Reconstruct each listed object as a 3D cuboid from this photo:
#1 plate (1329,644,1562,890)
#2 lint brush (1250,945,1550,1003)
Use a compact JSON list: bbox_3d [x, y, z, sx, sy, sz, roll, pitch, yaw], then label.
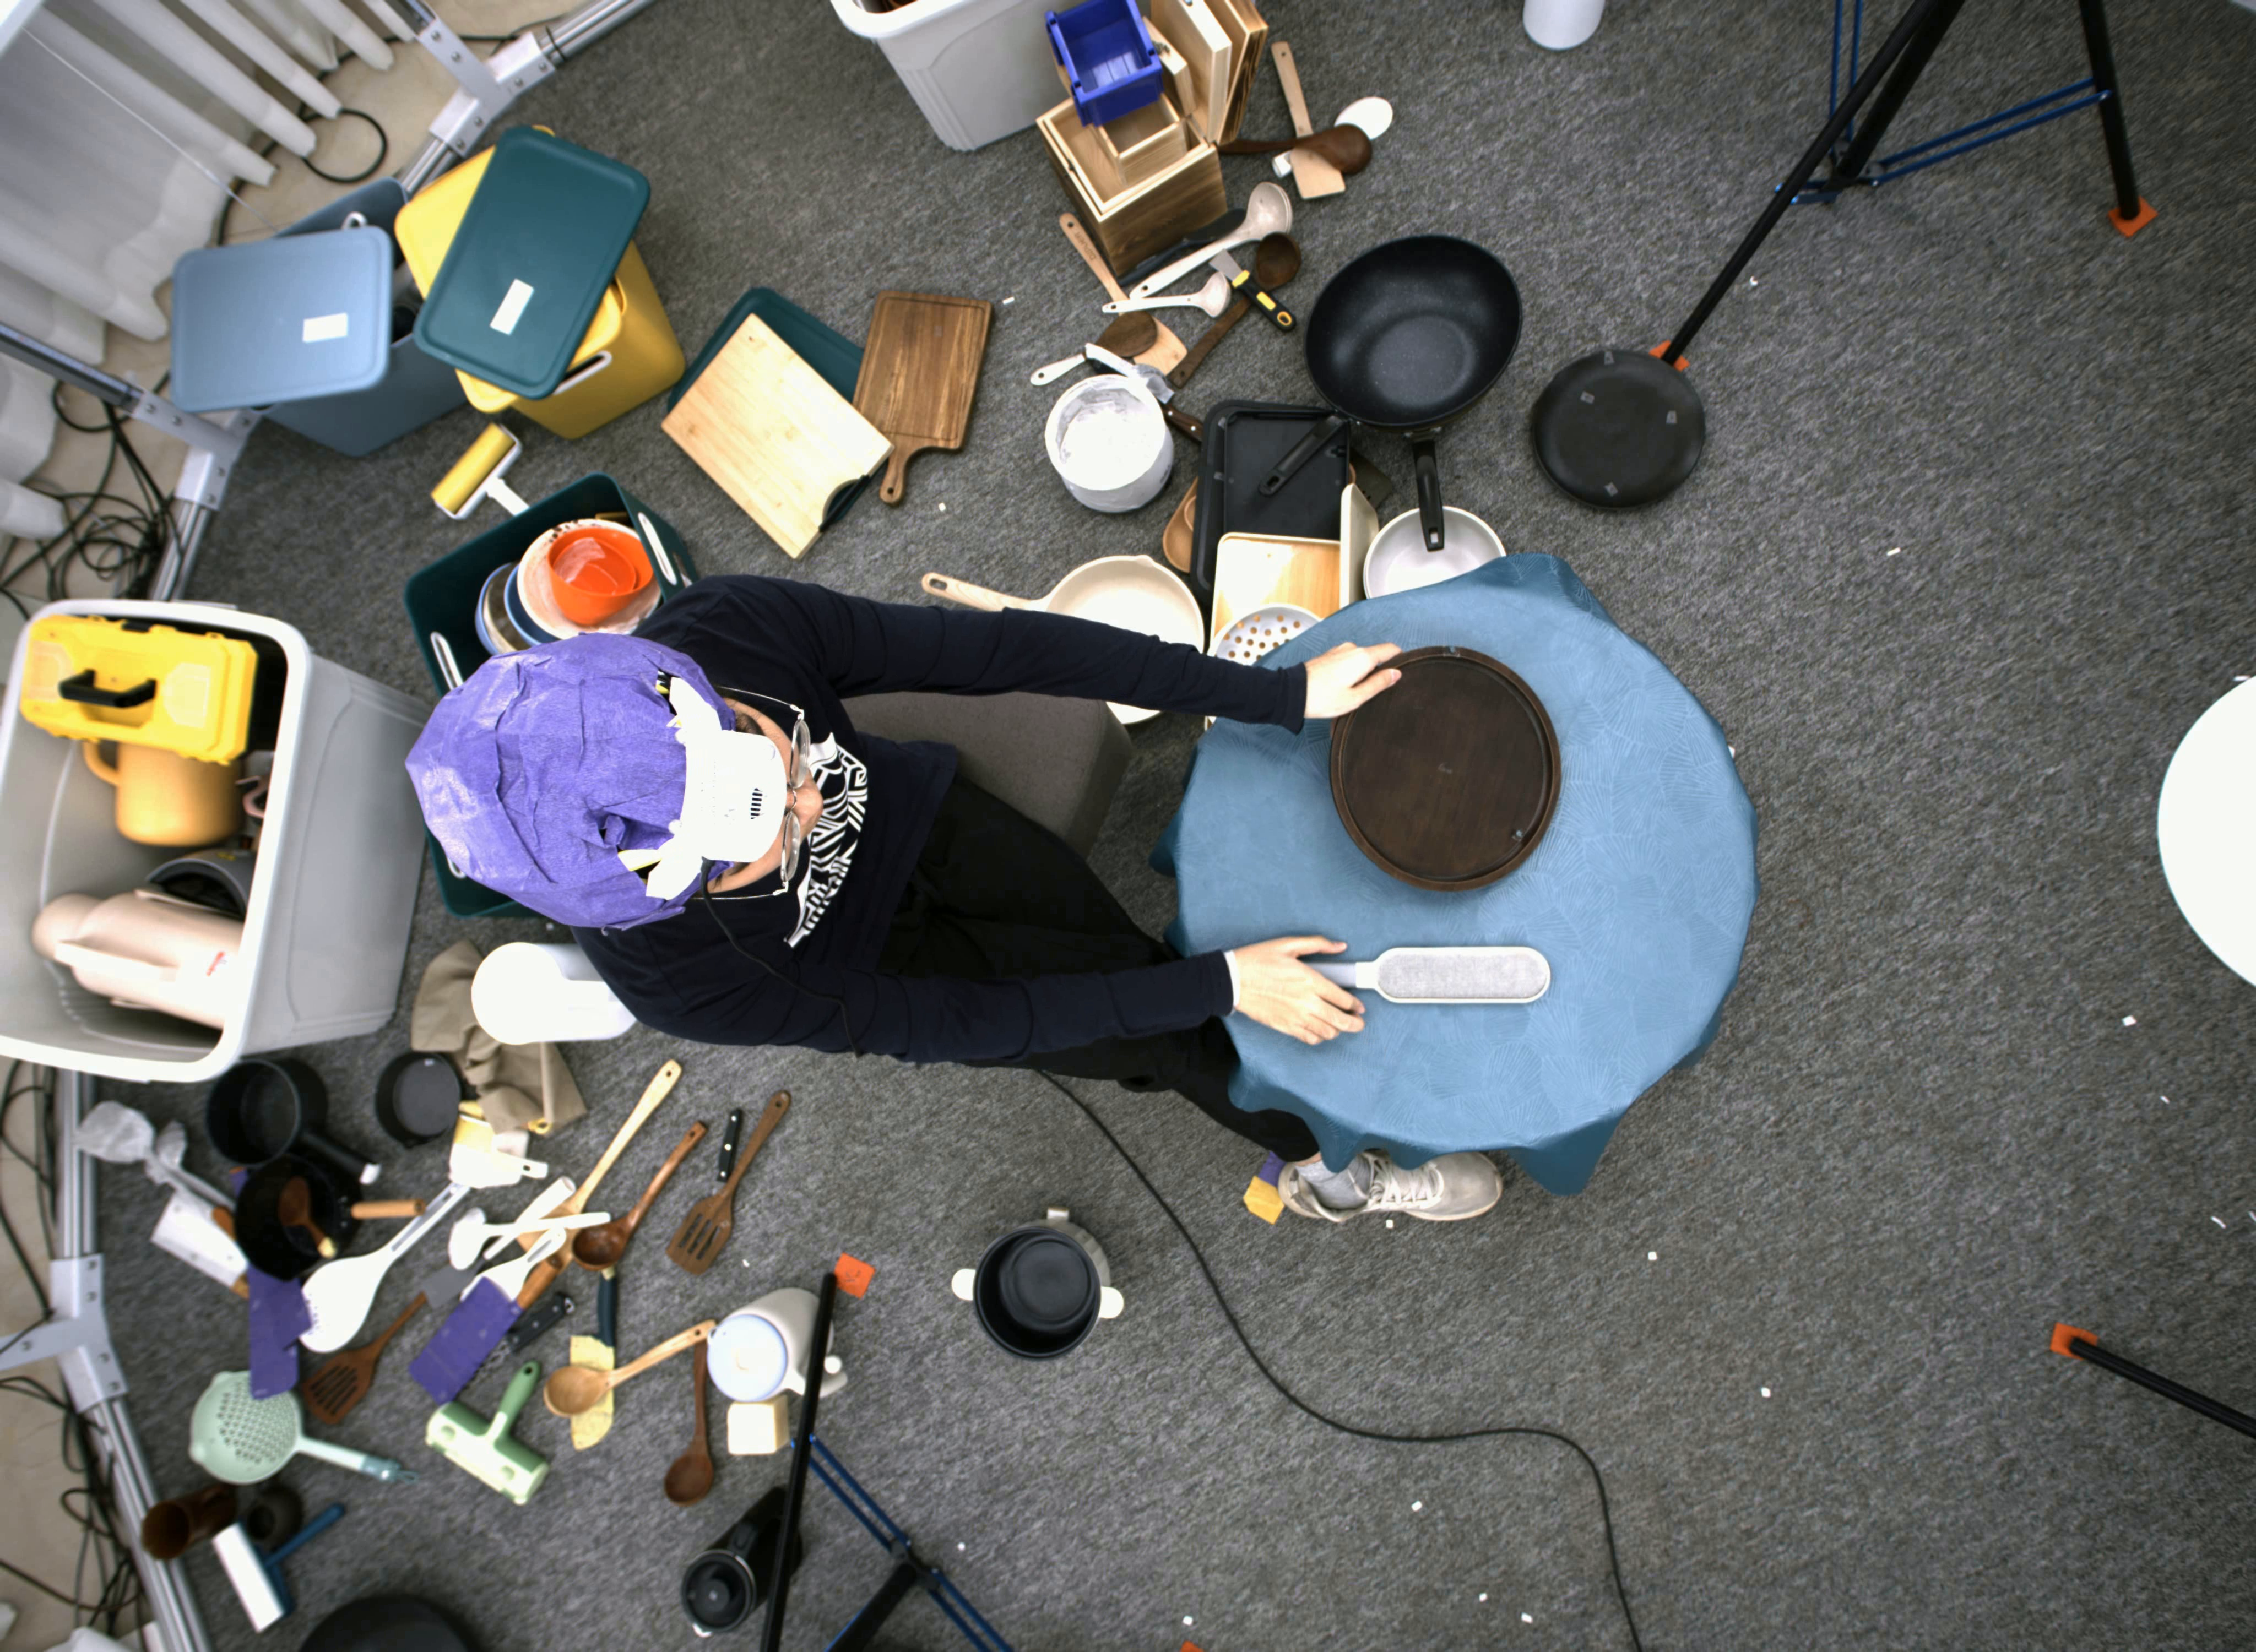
[{"bbox_3d":[0.325,-0.062,1.406,0.254,0.029,0.254,1,88,-10],"label":"plate"},{"bbox_3d":[0.282,0.152,1.439,0.310,0.021,0.060,-1,92,11],"label":"lint brush"}]
